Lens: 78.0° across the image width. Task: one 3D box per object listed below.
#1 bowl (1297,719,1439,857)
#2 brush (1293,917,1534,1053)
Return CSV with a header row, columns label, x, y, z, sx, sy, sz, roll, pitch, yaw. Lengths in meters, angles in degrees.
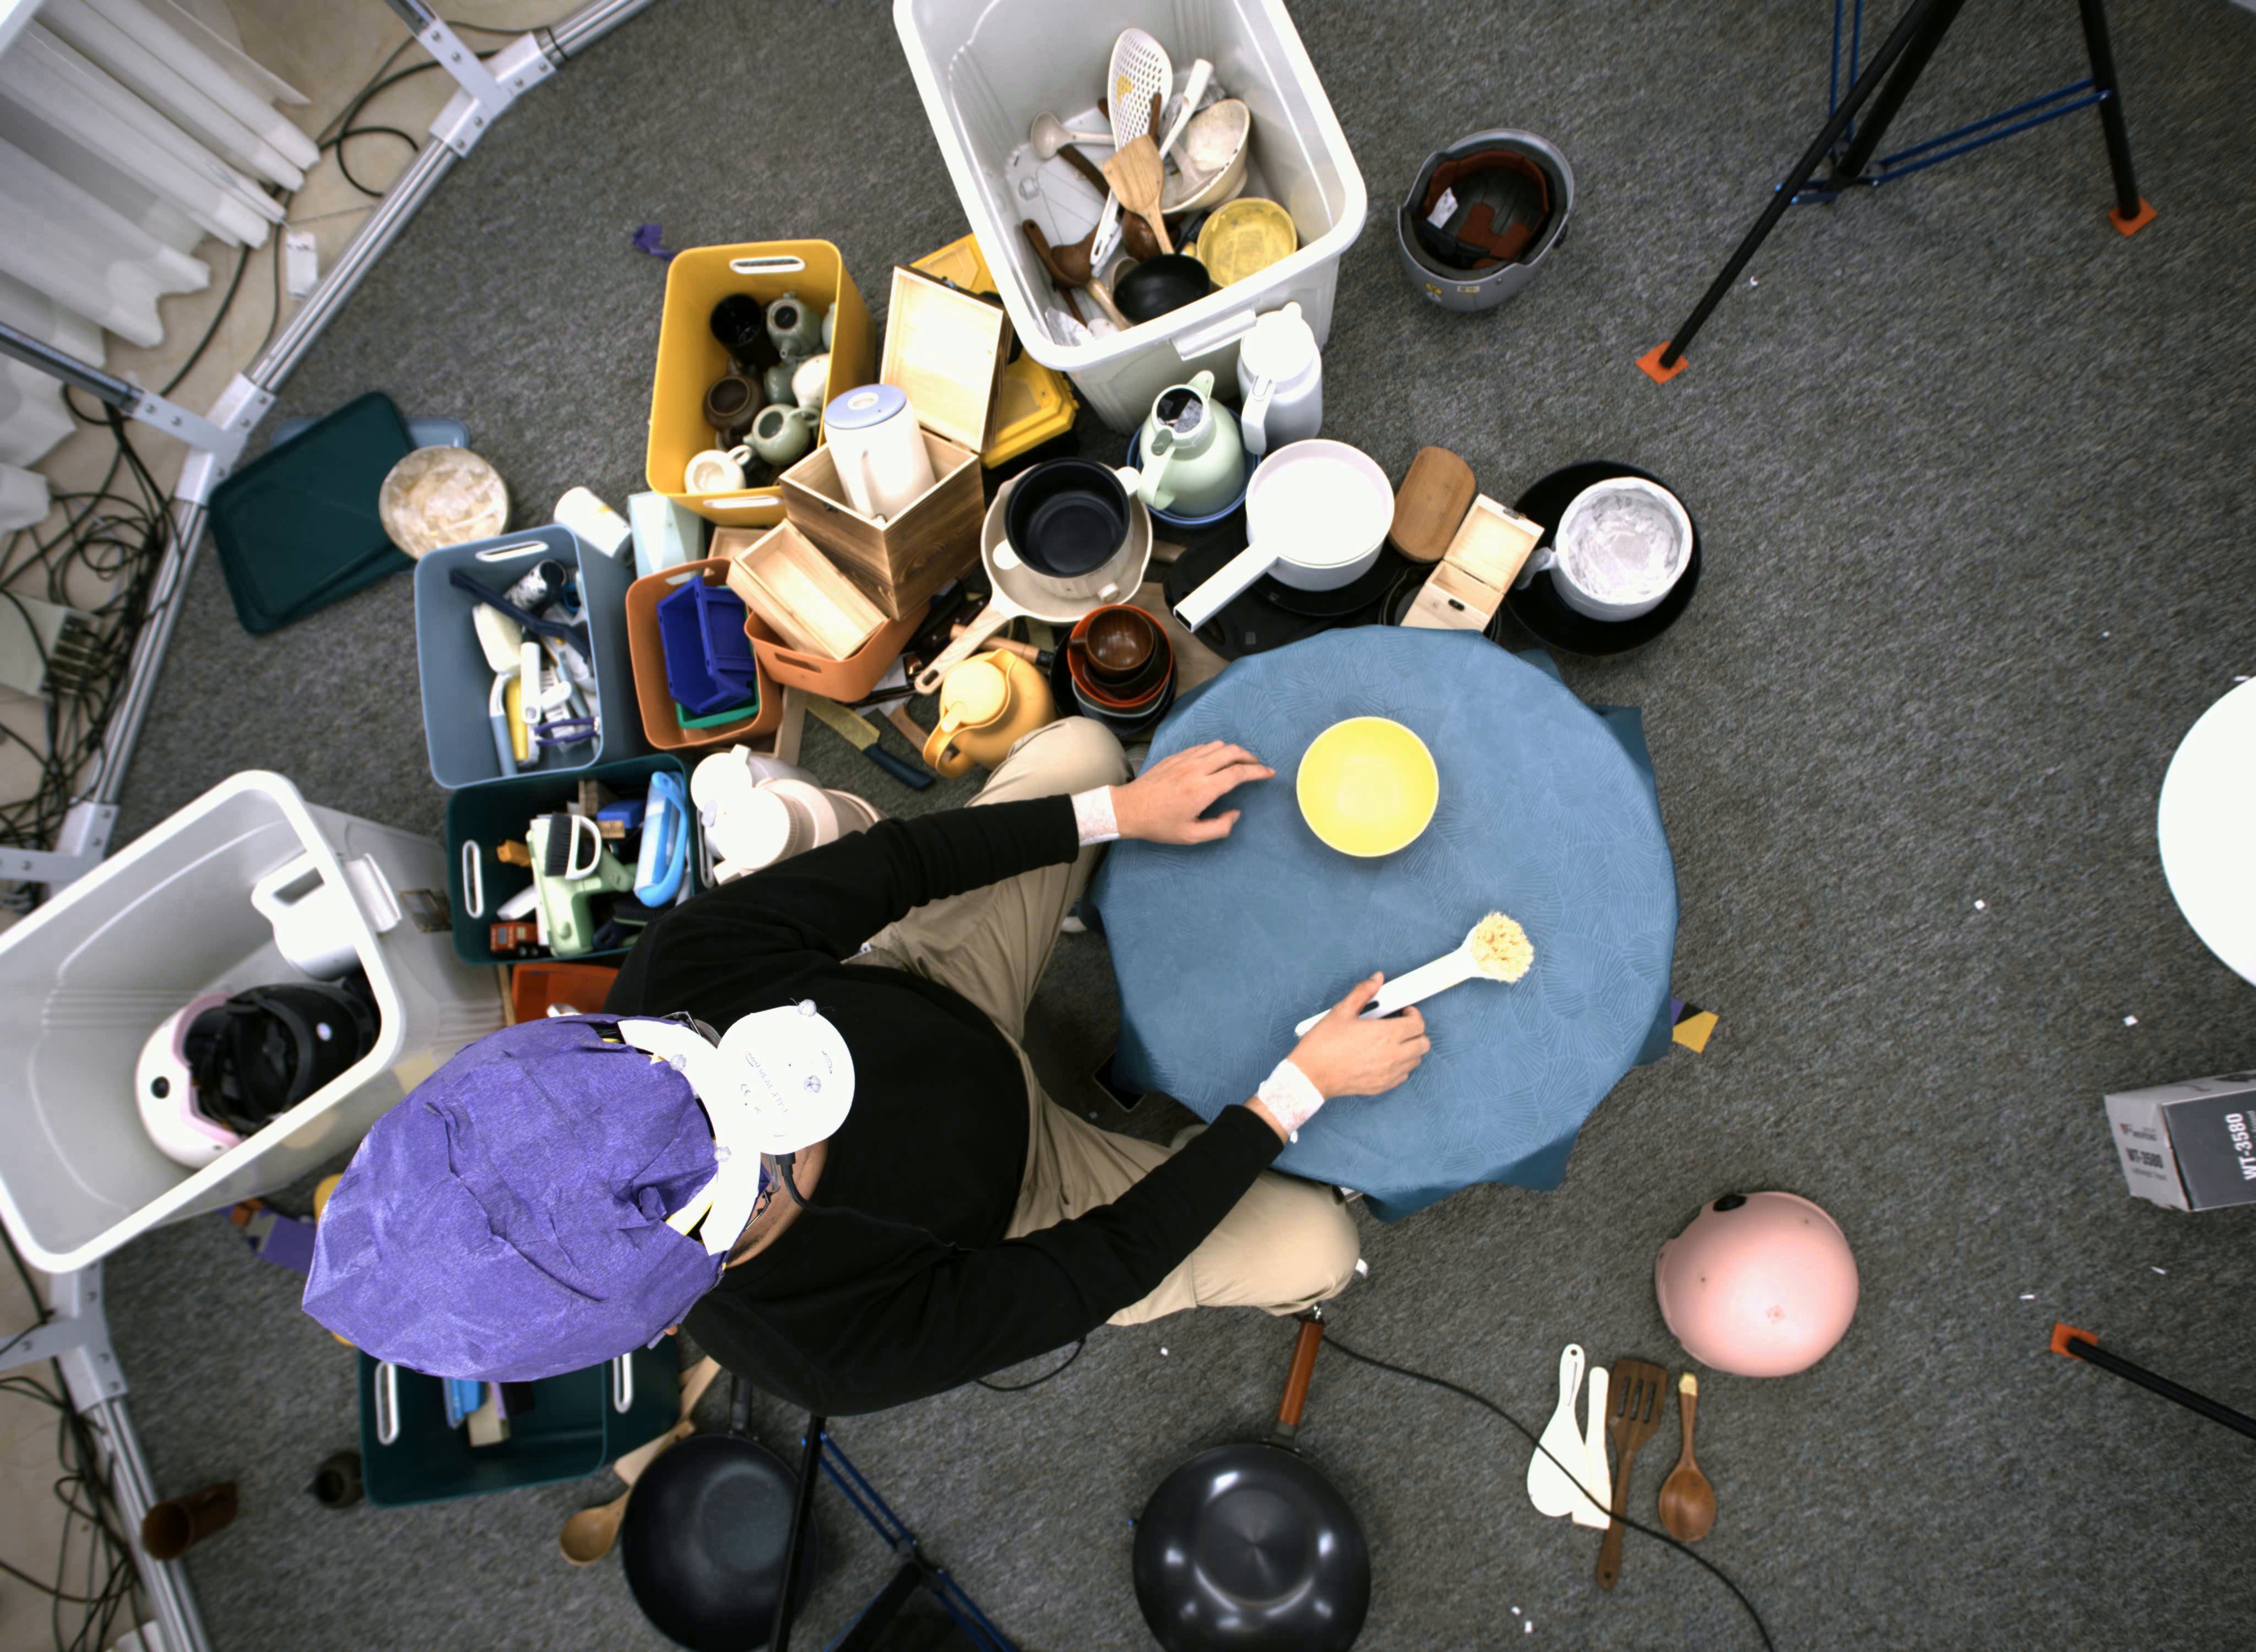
label,x,y,z,sx,sy,sz,roll,pitch,yaw
bowl,0.251,-0.037,1.441,0.146,0.060,0.144,-1,86,13
brush,0.291,0.171,1.424,0.268,0.056,0.068,-25,77,9
